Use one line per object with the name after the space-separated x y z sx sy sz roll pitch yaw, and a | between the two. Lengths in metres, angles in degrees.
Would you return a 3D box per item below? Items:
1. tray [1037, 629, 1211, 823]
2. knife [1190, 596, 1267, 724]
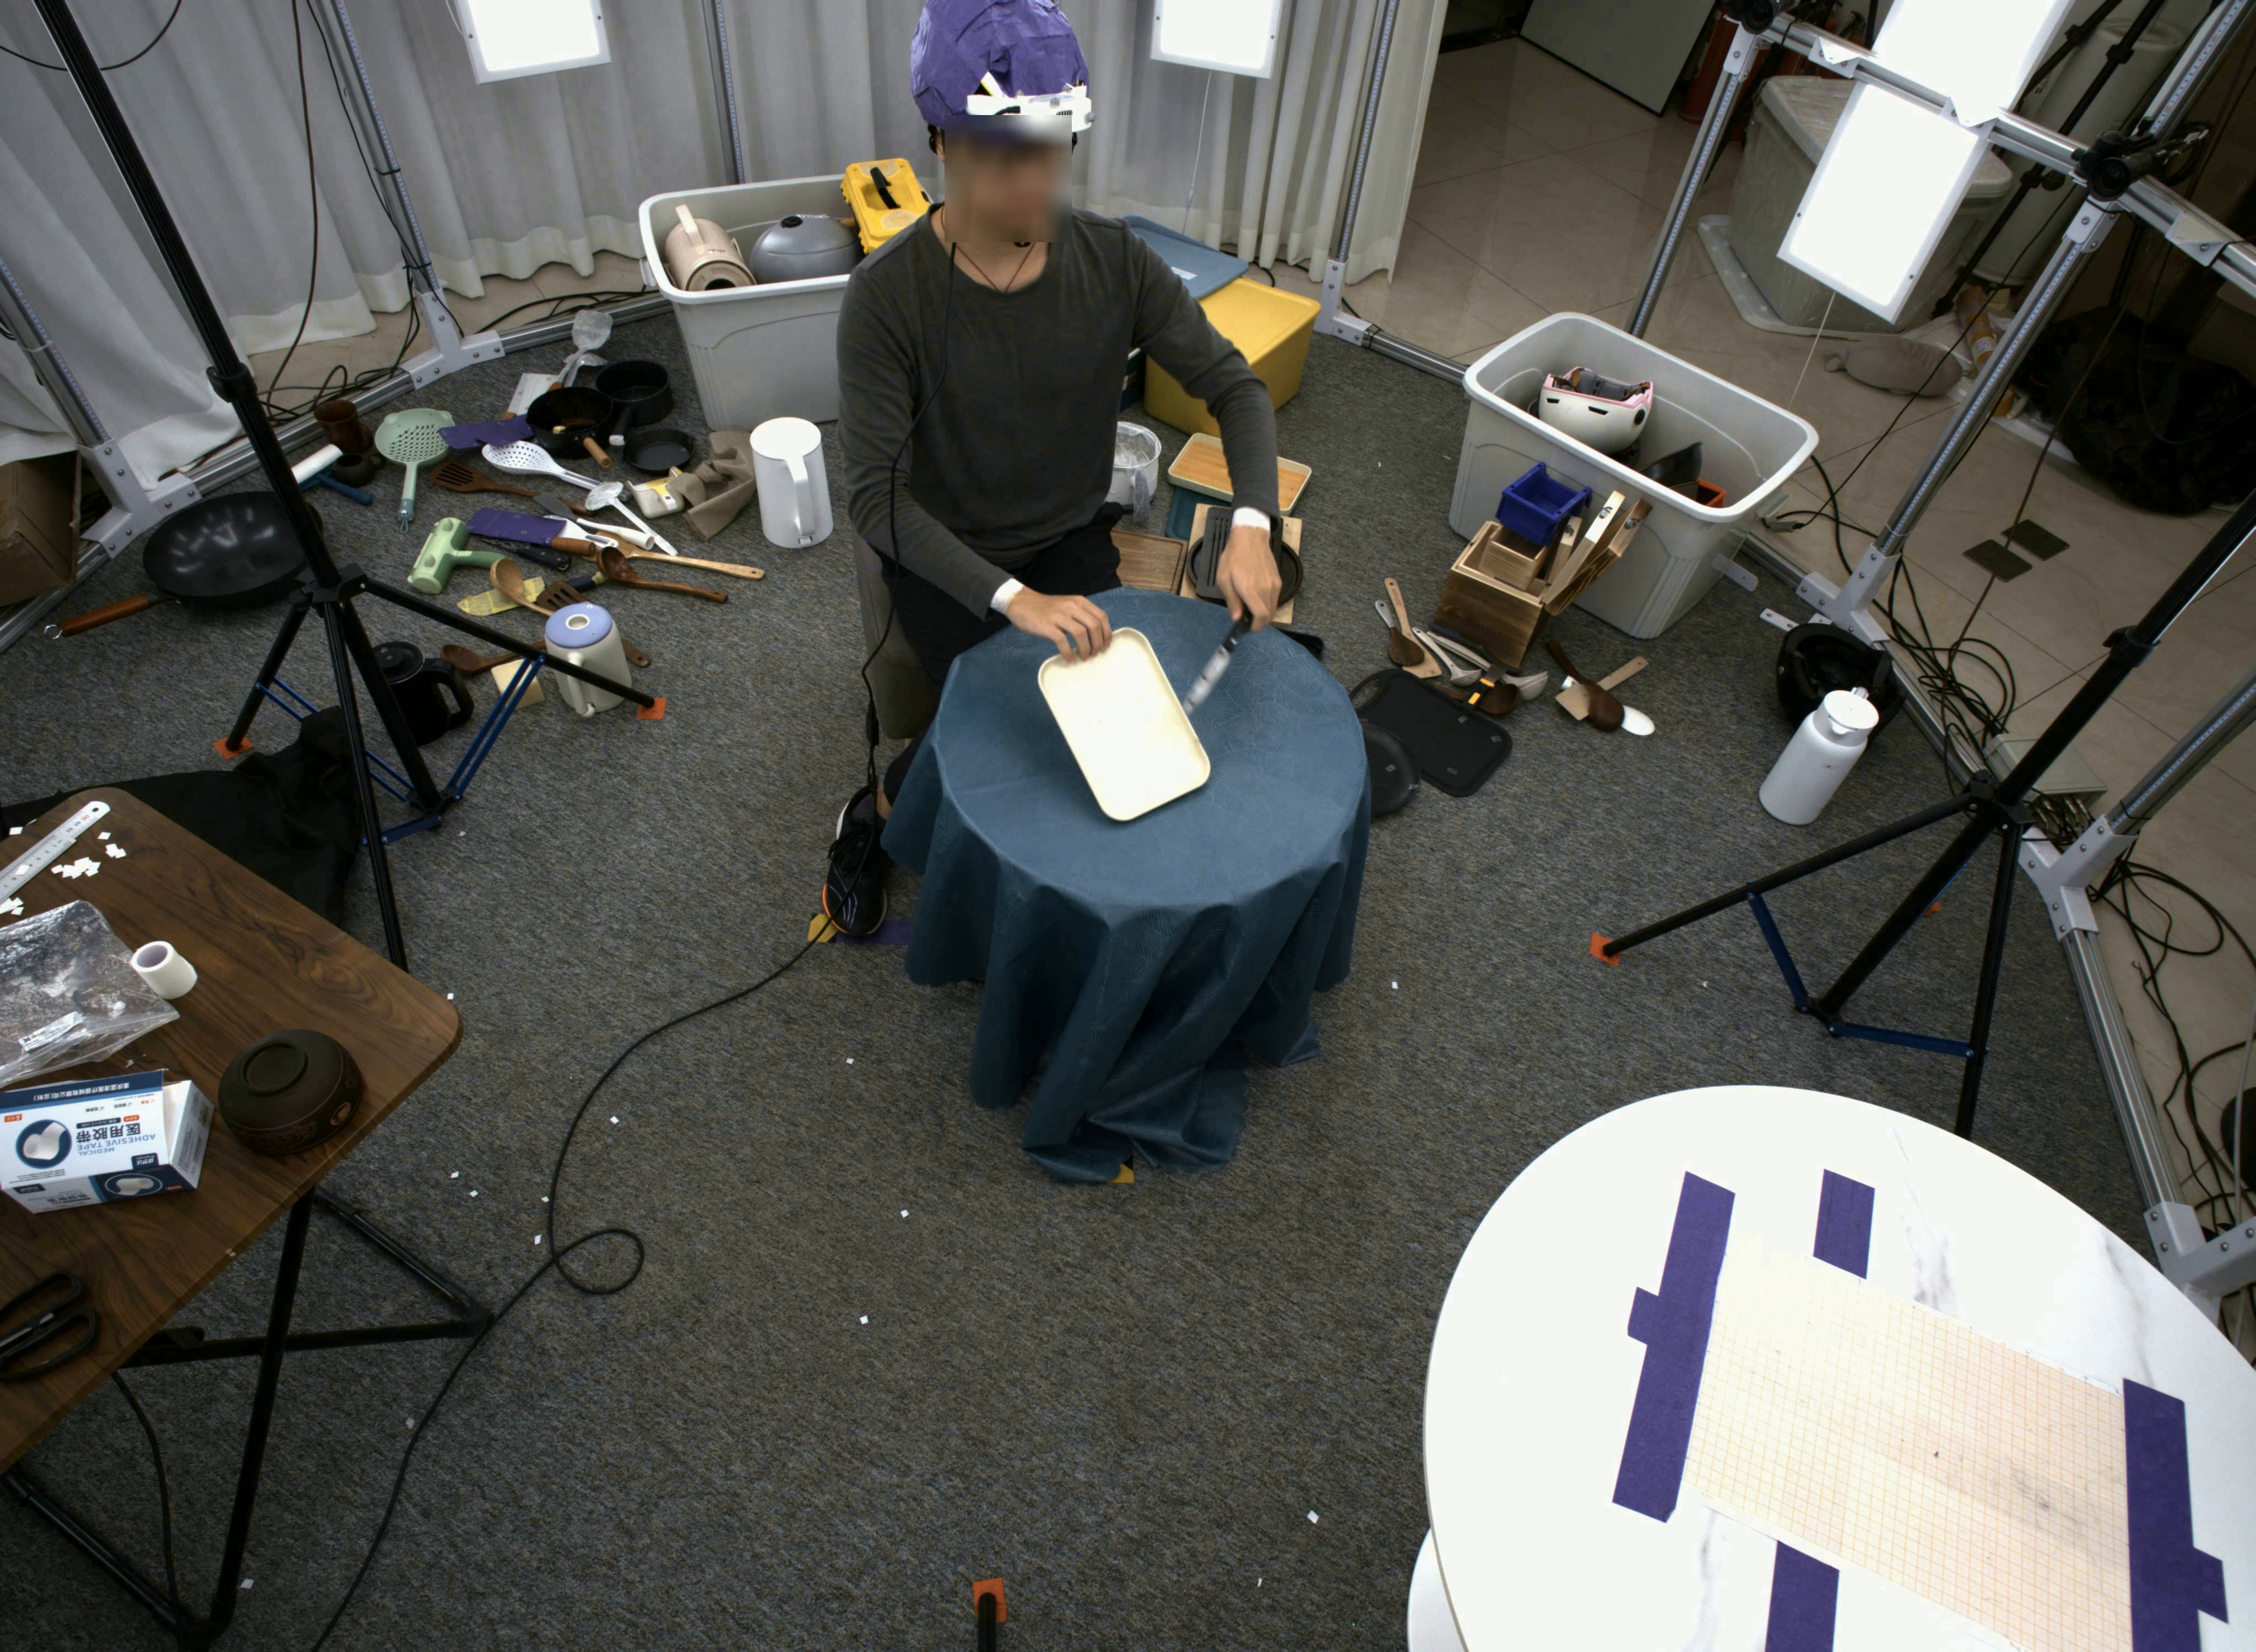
-0.005 -0.133 1.701 0.172 0.017 0.241 -25 84 -20 | tray
0.133 -0.226 1.724 0.024 0.016 0.242 41 59 -18 | knife
